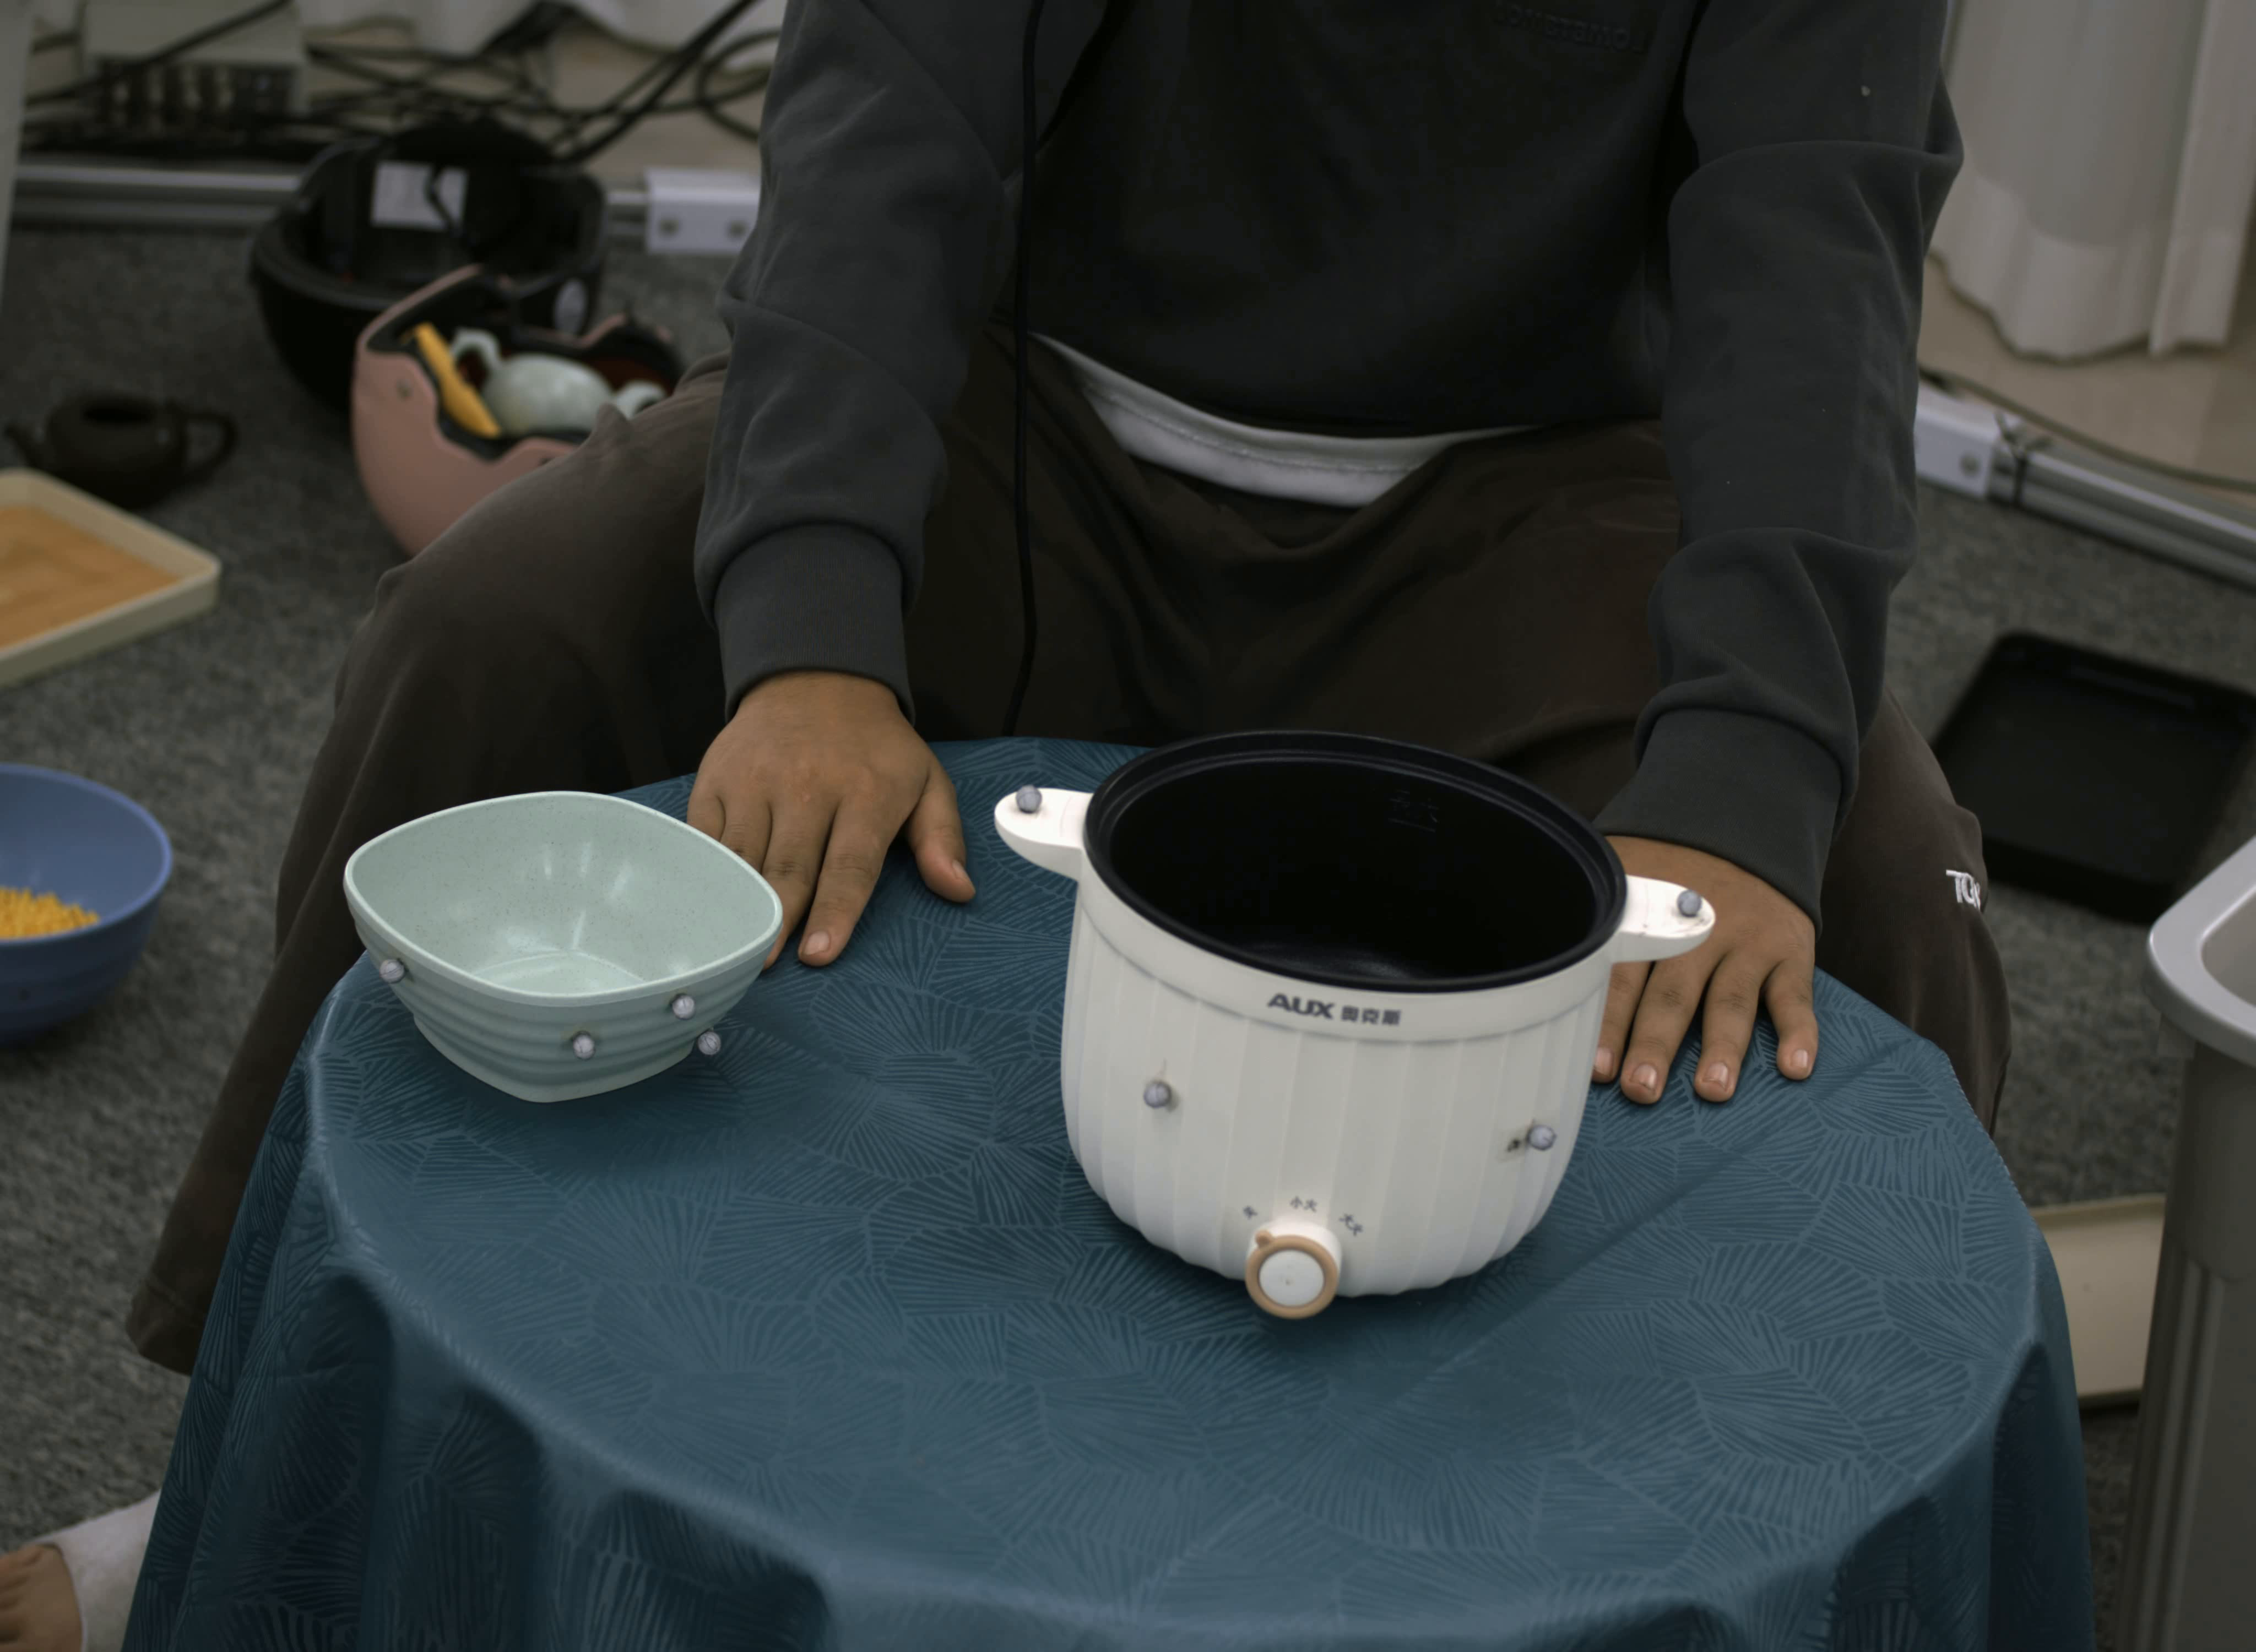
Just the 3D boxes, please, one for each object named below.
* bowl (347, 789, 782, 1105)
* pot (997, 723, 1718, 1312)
[{"bbox_3d":[-0.197,0.048,1.848,0.151,0.058,0.152,6,28,-4],"label":"bowl"},{"bbox_3d":[0.070,0.067,1.779,0.240,0.142,0.191,6,23,2],"label":"pot"}]
